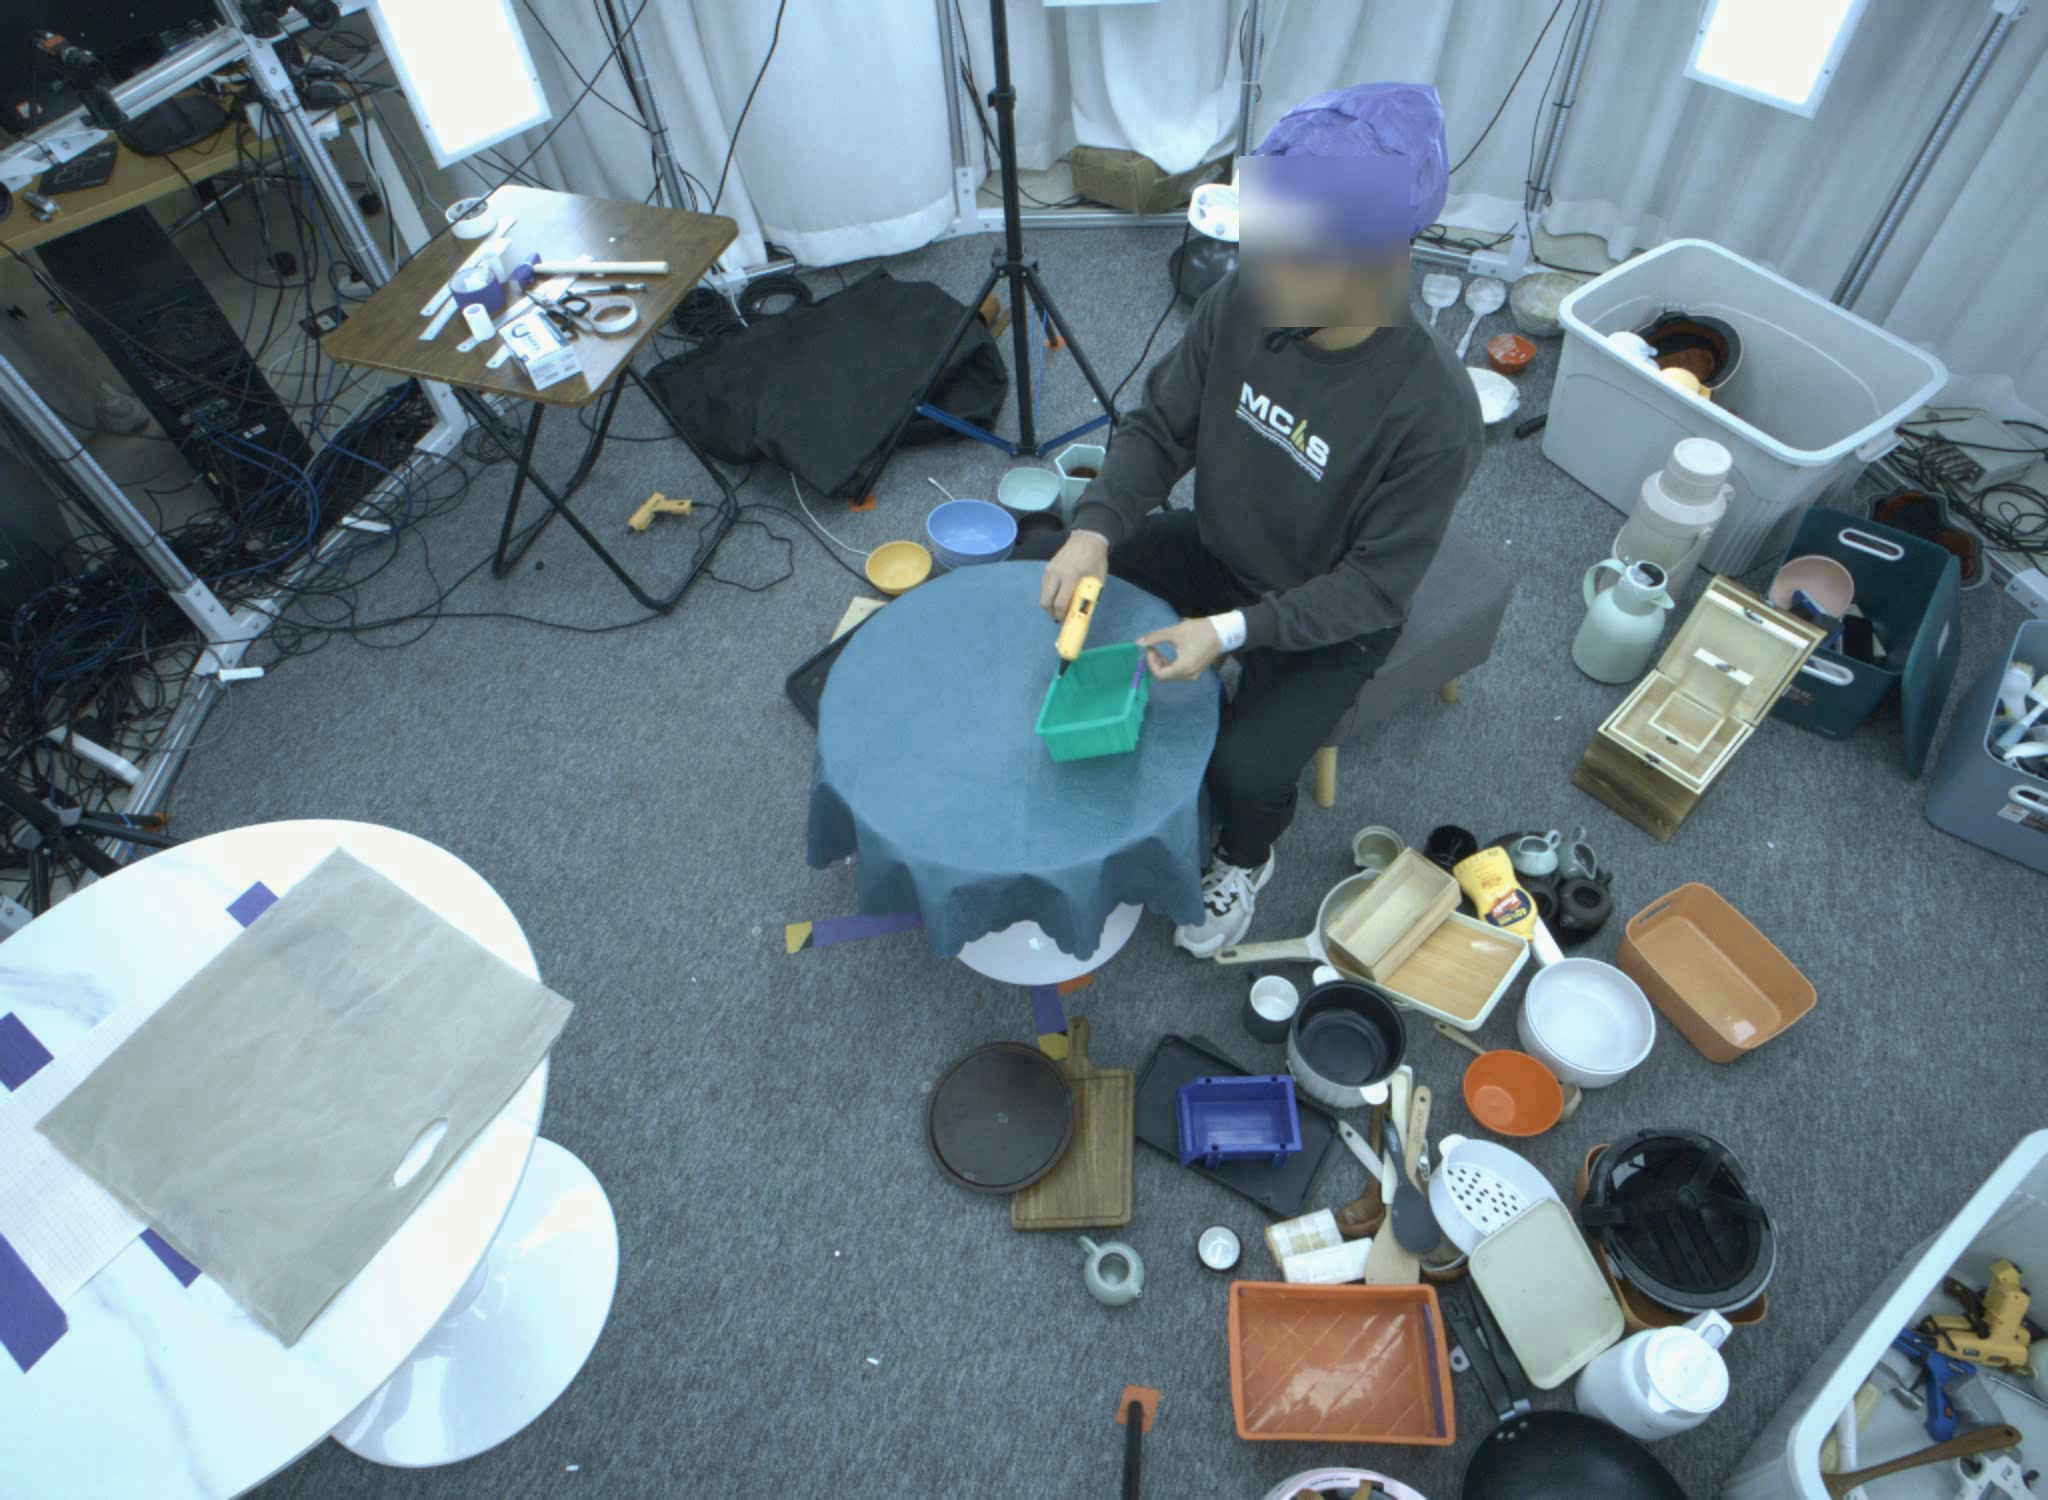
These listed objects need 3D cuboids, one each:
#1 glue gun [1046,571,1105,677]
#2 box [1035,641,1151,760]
[{"bbox_3d":[0.056,-0.184,1.793,0.032,0.151,0.130,16,5,-29],"label":"glue gun"},{"bbox_3d":[0.105,-0.069,1.746,0.137,0.066,0.210,-7,33,19],"label":"box"}]
